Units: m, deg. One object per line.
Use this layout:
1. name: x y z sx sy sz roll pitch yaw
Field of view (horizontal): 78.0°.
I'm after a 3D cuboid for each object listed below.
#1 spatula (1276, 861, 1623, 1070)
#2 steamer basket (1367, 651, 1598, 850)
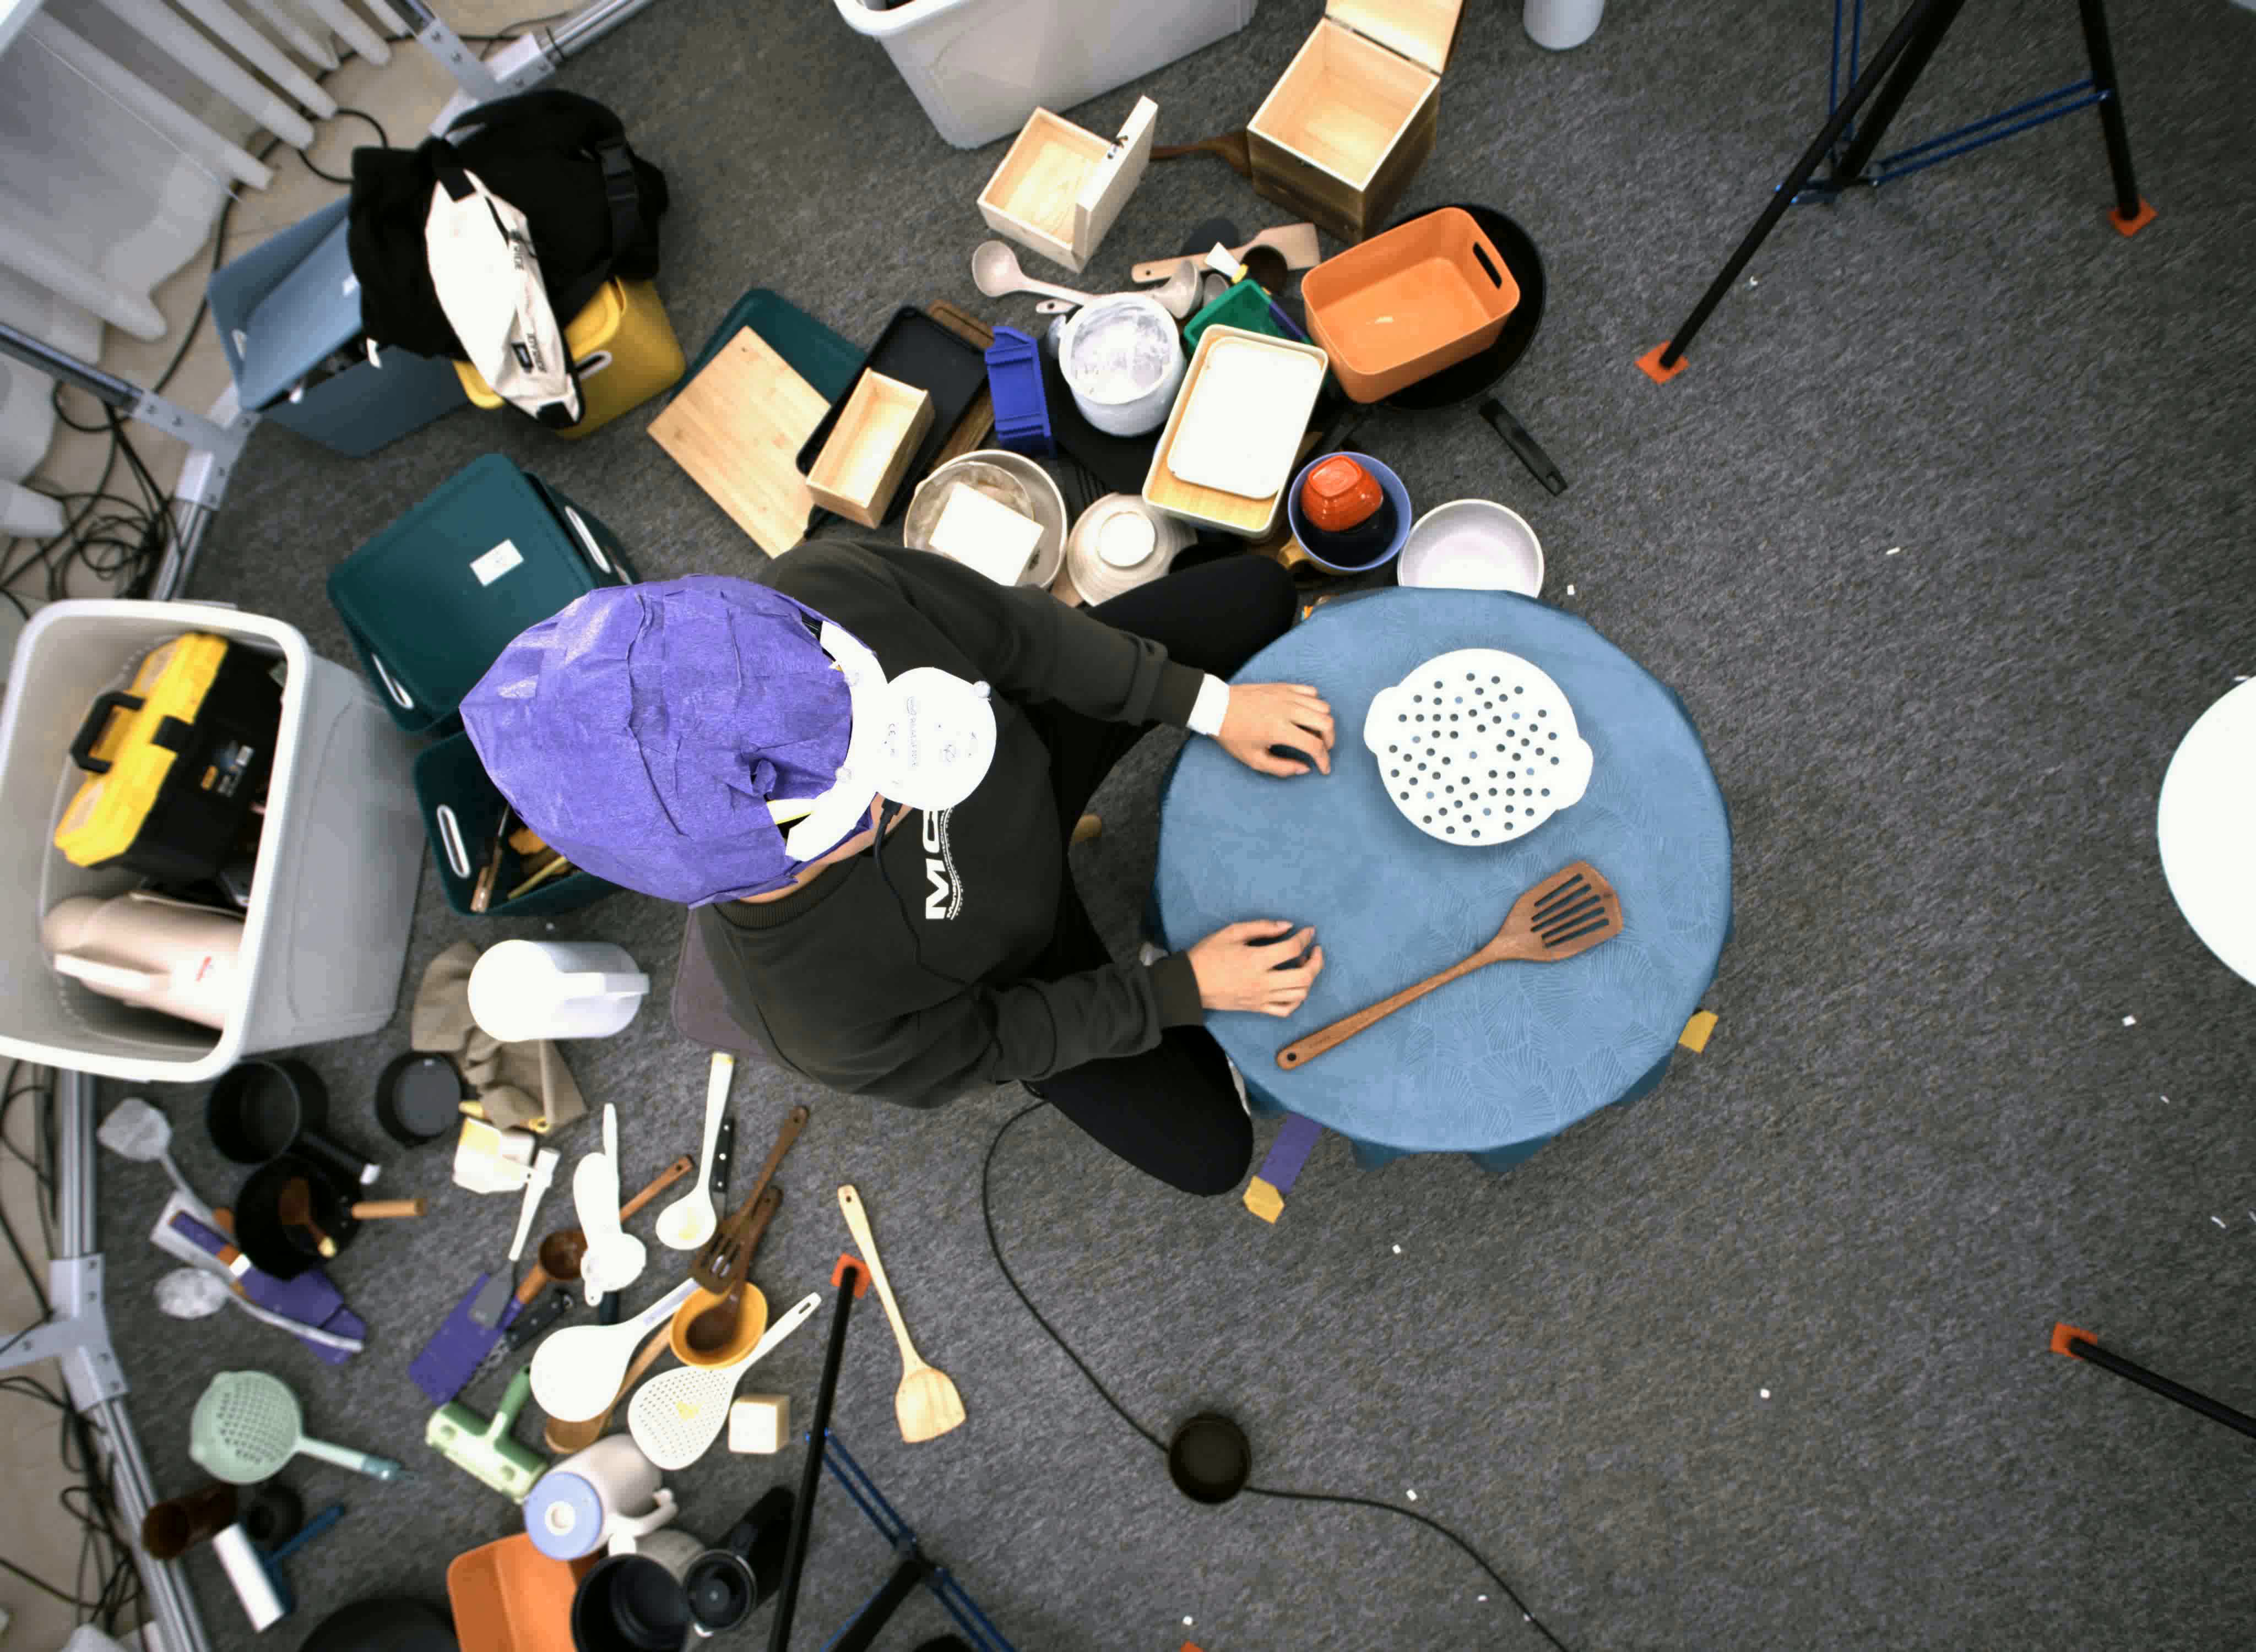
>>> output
1. spatula: 0.326 0.158 1.434 0.388 0.024 0.085 -29 80 9
2. steamer basket: 0.364 -0.078 1.419 0.231 0.069 0.201 17 87 14
